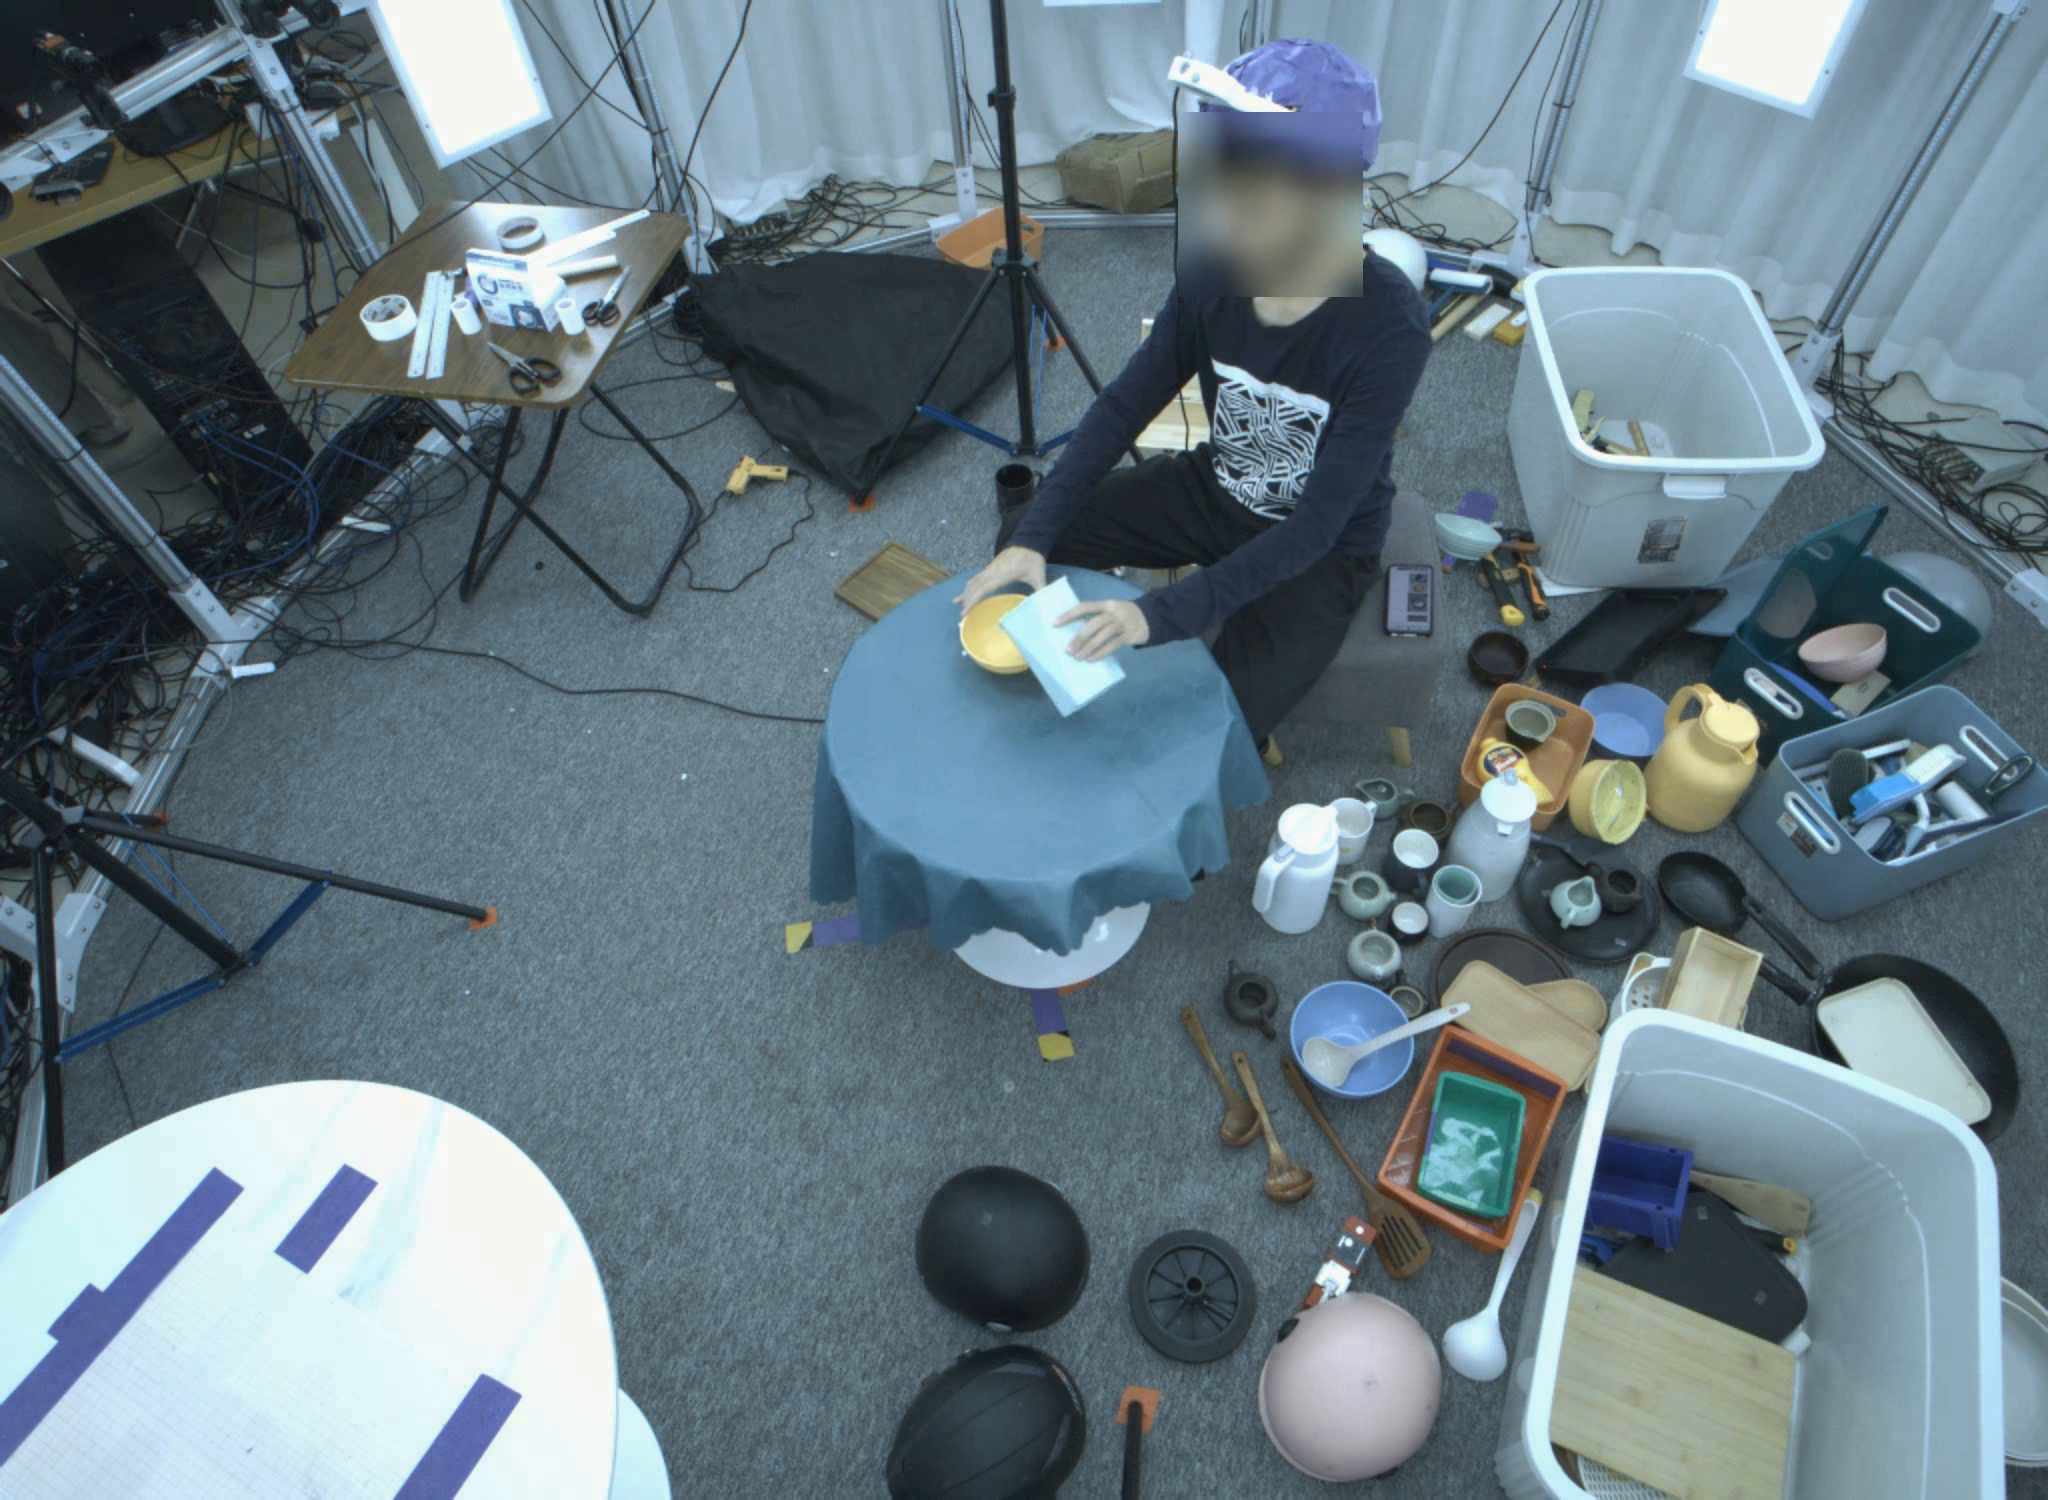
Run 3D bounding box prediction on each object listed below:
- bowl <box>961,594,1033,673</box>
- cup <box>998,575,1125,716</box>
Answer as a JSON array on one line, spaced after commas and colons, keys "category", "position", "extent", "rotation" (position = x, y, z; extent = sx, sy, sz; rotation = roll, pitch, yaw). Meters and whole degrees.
[{"category": "bowl", "position": [-0.024, -0.165, 1.866], "extent": [0.145, 0.060, 0.144], "rotation": [1, 54, 0]}, {"category": "cup", "position": [0.055, -0.142, 1.726], "extent": [0.115, 0.131, 0.162], "rotation": [-32, 88, 0]}]
